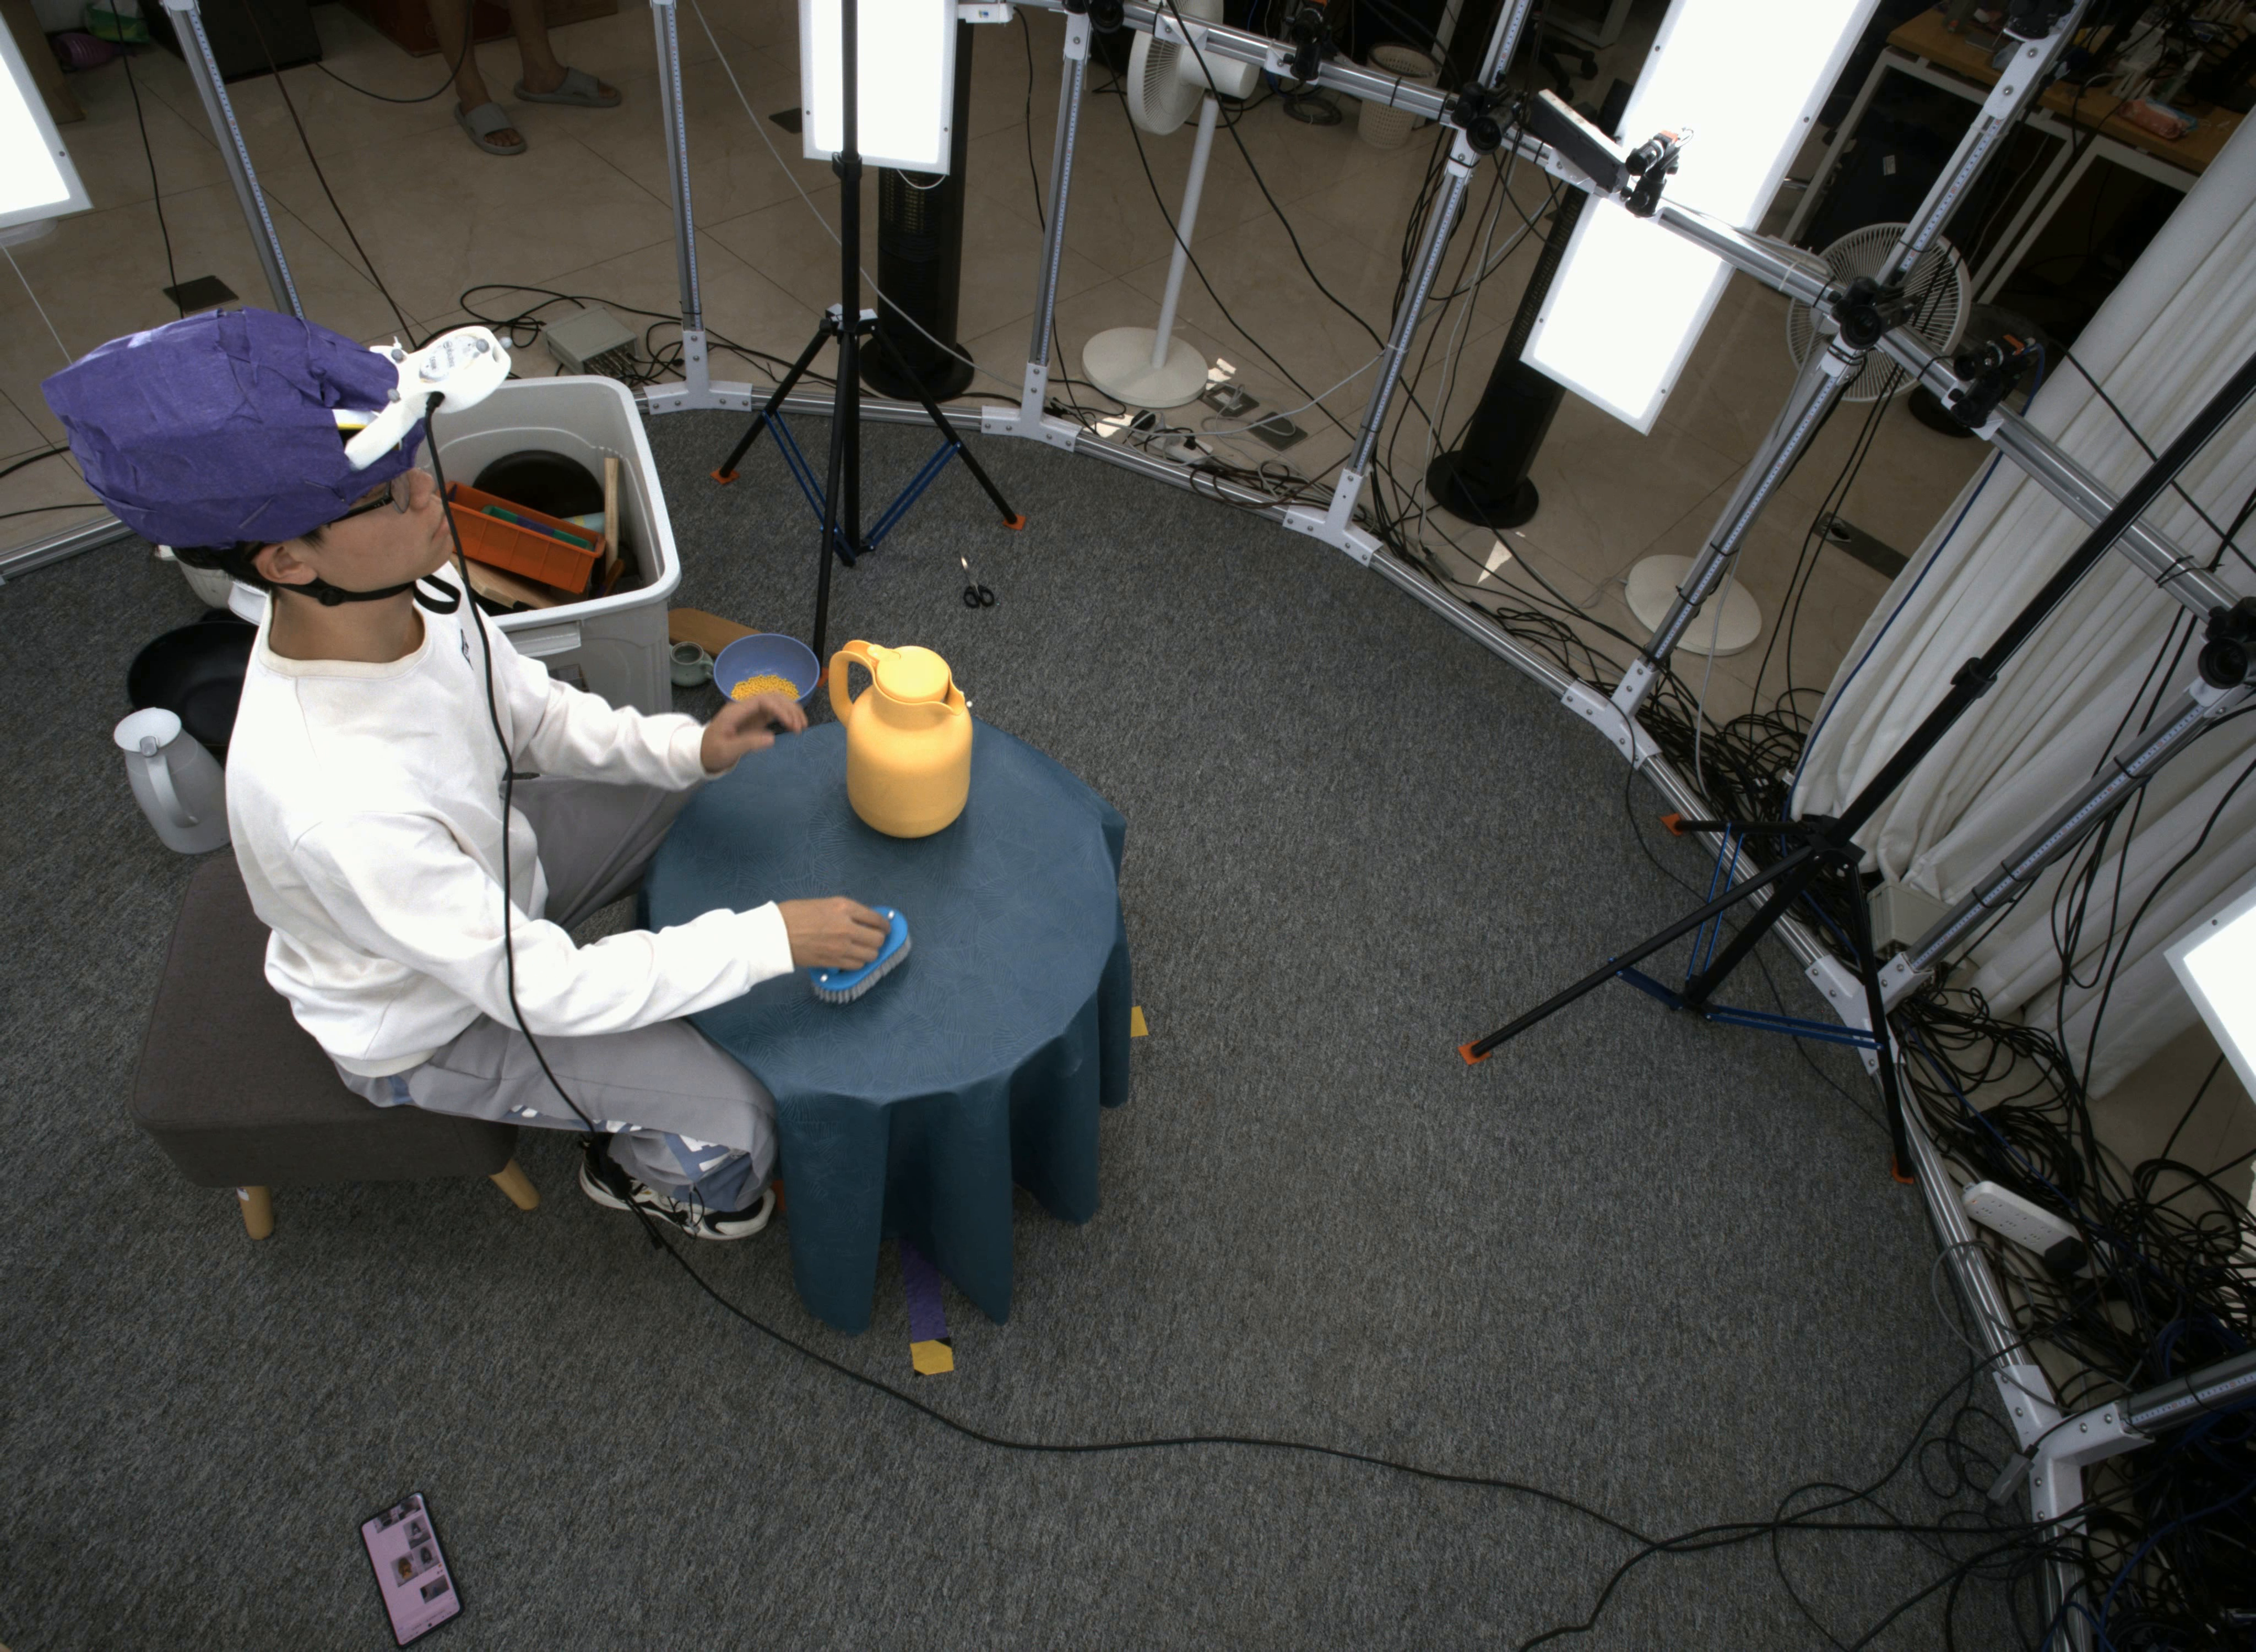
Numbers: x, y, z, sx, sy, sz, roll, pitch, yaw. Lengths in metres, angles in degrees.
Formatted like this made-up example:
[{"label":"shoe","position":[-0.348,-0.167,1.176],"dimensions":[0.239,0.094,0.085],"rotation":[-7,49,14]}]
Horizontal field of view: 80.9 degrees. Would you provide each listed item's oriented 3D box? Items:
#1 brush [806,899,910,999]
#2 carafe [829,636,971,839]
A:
[{"label":"brush","position":[-0.326,0.141,1.580],"dimensions":[0.082,0.065,0.142],"rotation":[36,59,19]},{"label":"carafe","position":[-0.301,-0.126,1.690],"dimensions":[0.199,0.266,0.163],"rotation":[31,51,12]}]
